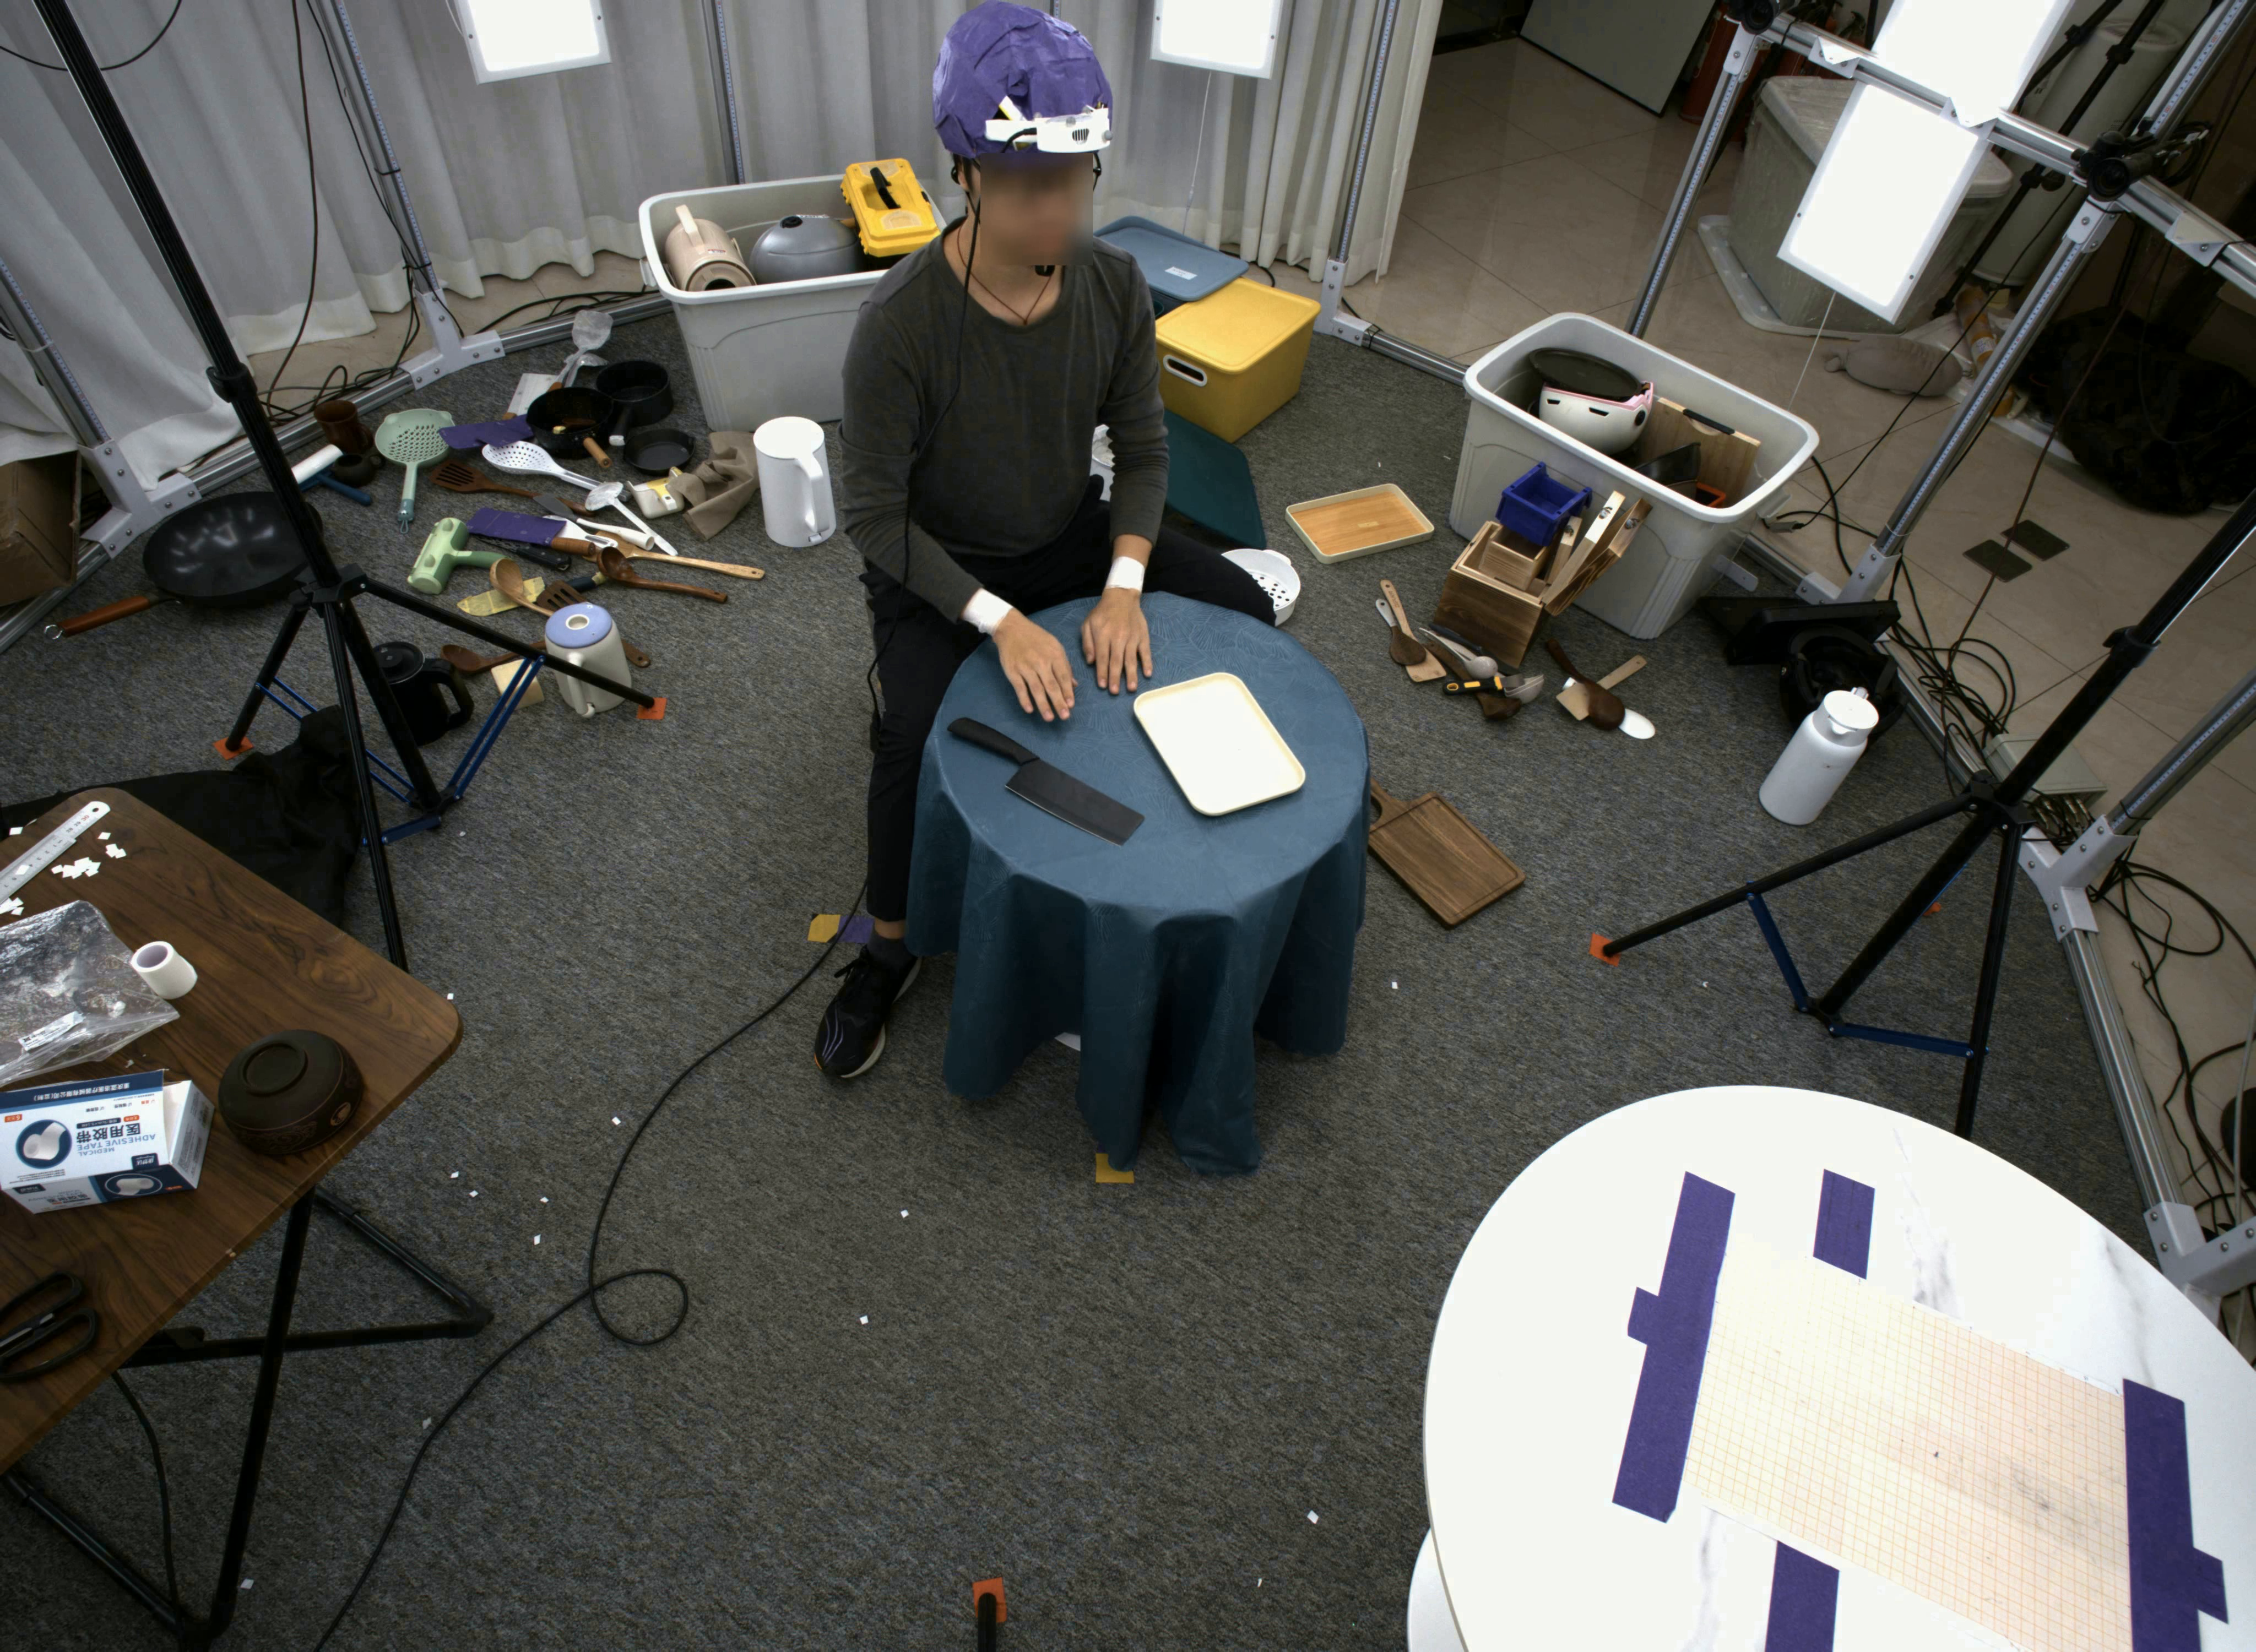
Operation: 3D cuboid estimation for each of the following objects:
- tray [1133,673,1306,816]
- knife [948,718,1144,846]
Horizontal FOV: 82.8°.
[{"bbox_3d":[0.123,-0.114,1.763,0.171,0.017,0.245,-16,52,-18],"label":"tray"},{"bbox_3d":[-0.117,-0.063,1.705,0.305,0.020,0.082,33,55,20],"label":"knife"}]
